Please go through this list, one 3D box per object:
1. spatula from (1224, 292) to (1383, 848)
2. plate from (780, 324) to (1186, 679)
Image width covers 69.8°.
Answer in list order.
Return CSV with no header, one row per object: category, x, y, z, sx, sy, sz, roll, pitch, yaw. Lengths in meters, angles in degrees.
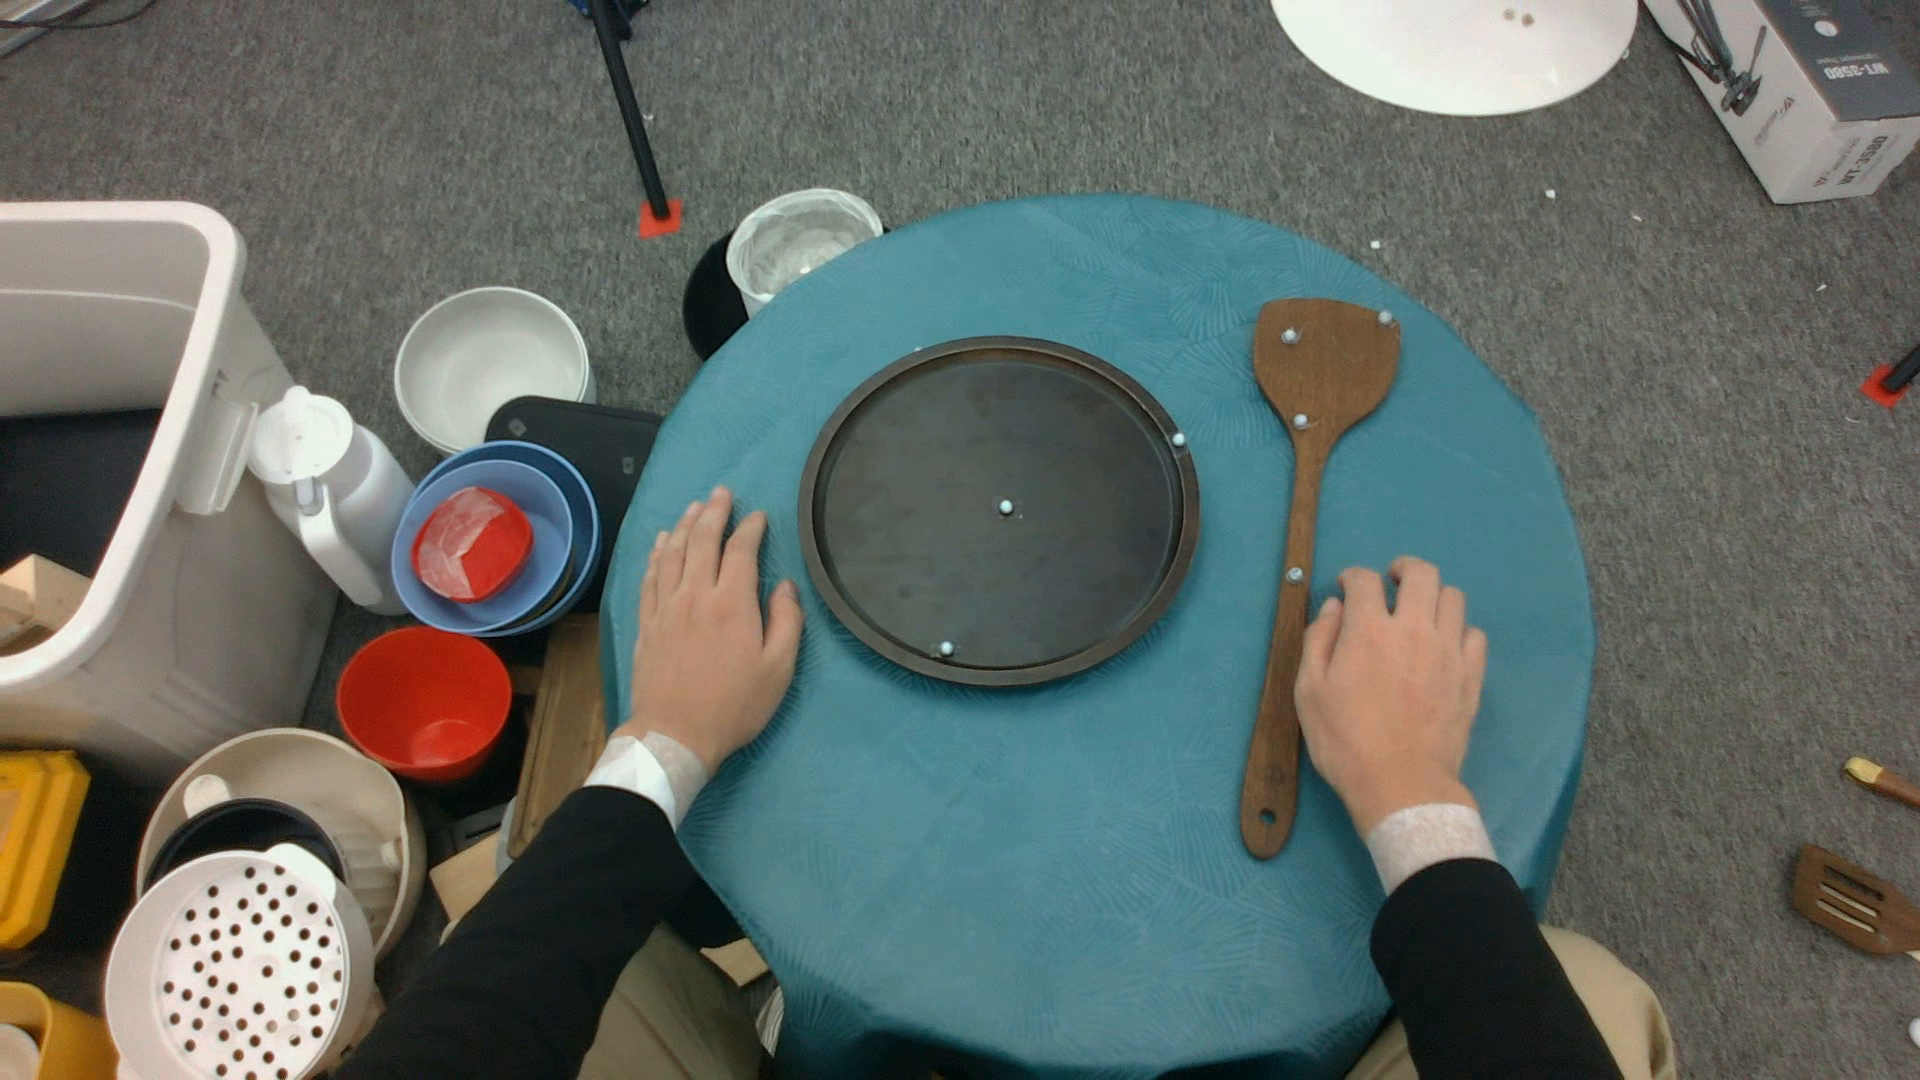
spatula,0.199,0.001,0.845,0.096,0.016,0.387,10,62,8
plate,0.014,-0.029,0.862,0.255,0.029,0.256,0,61,0
